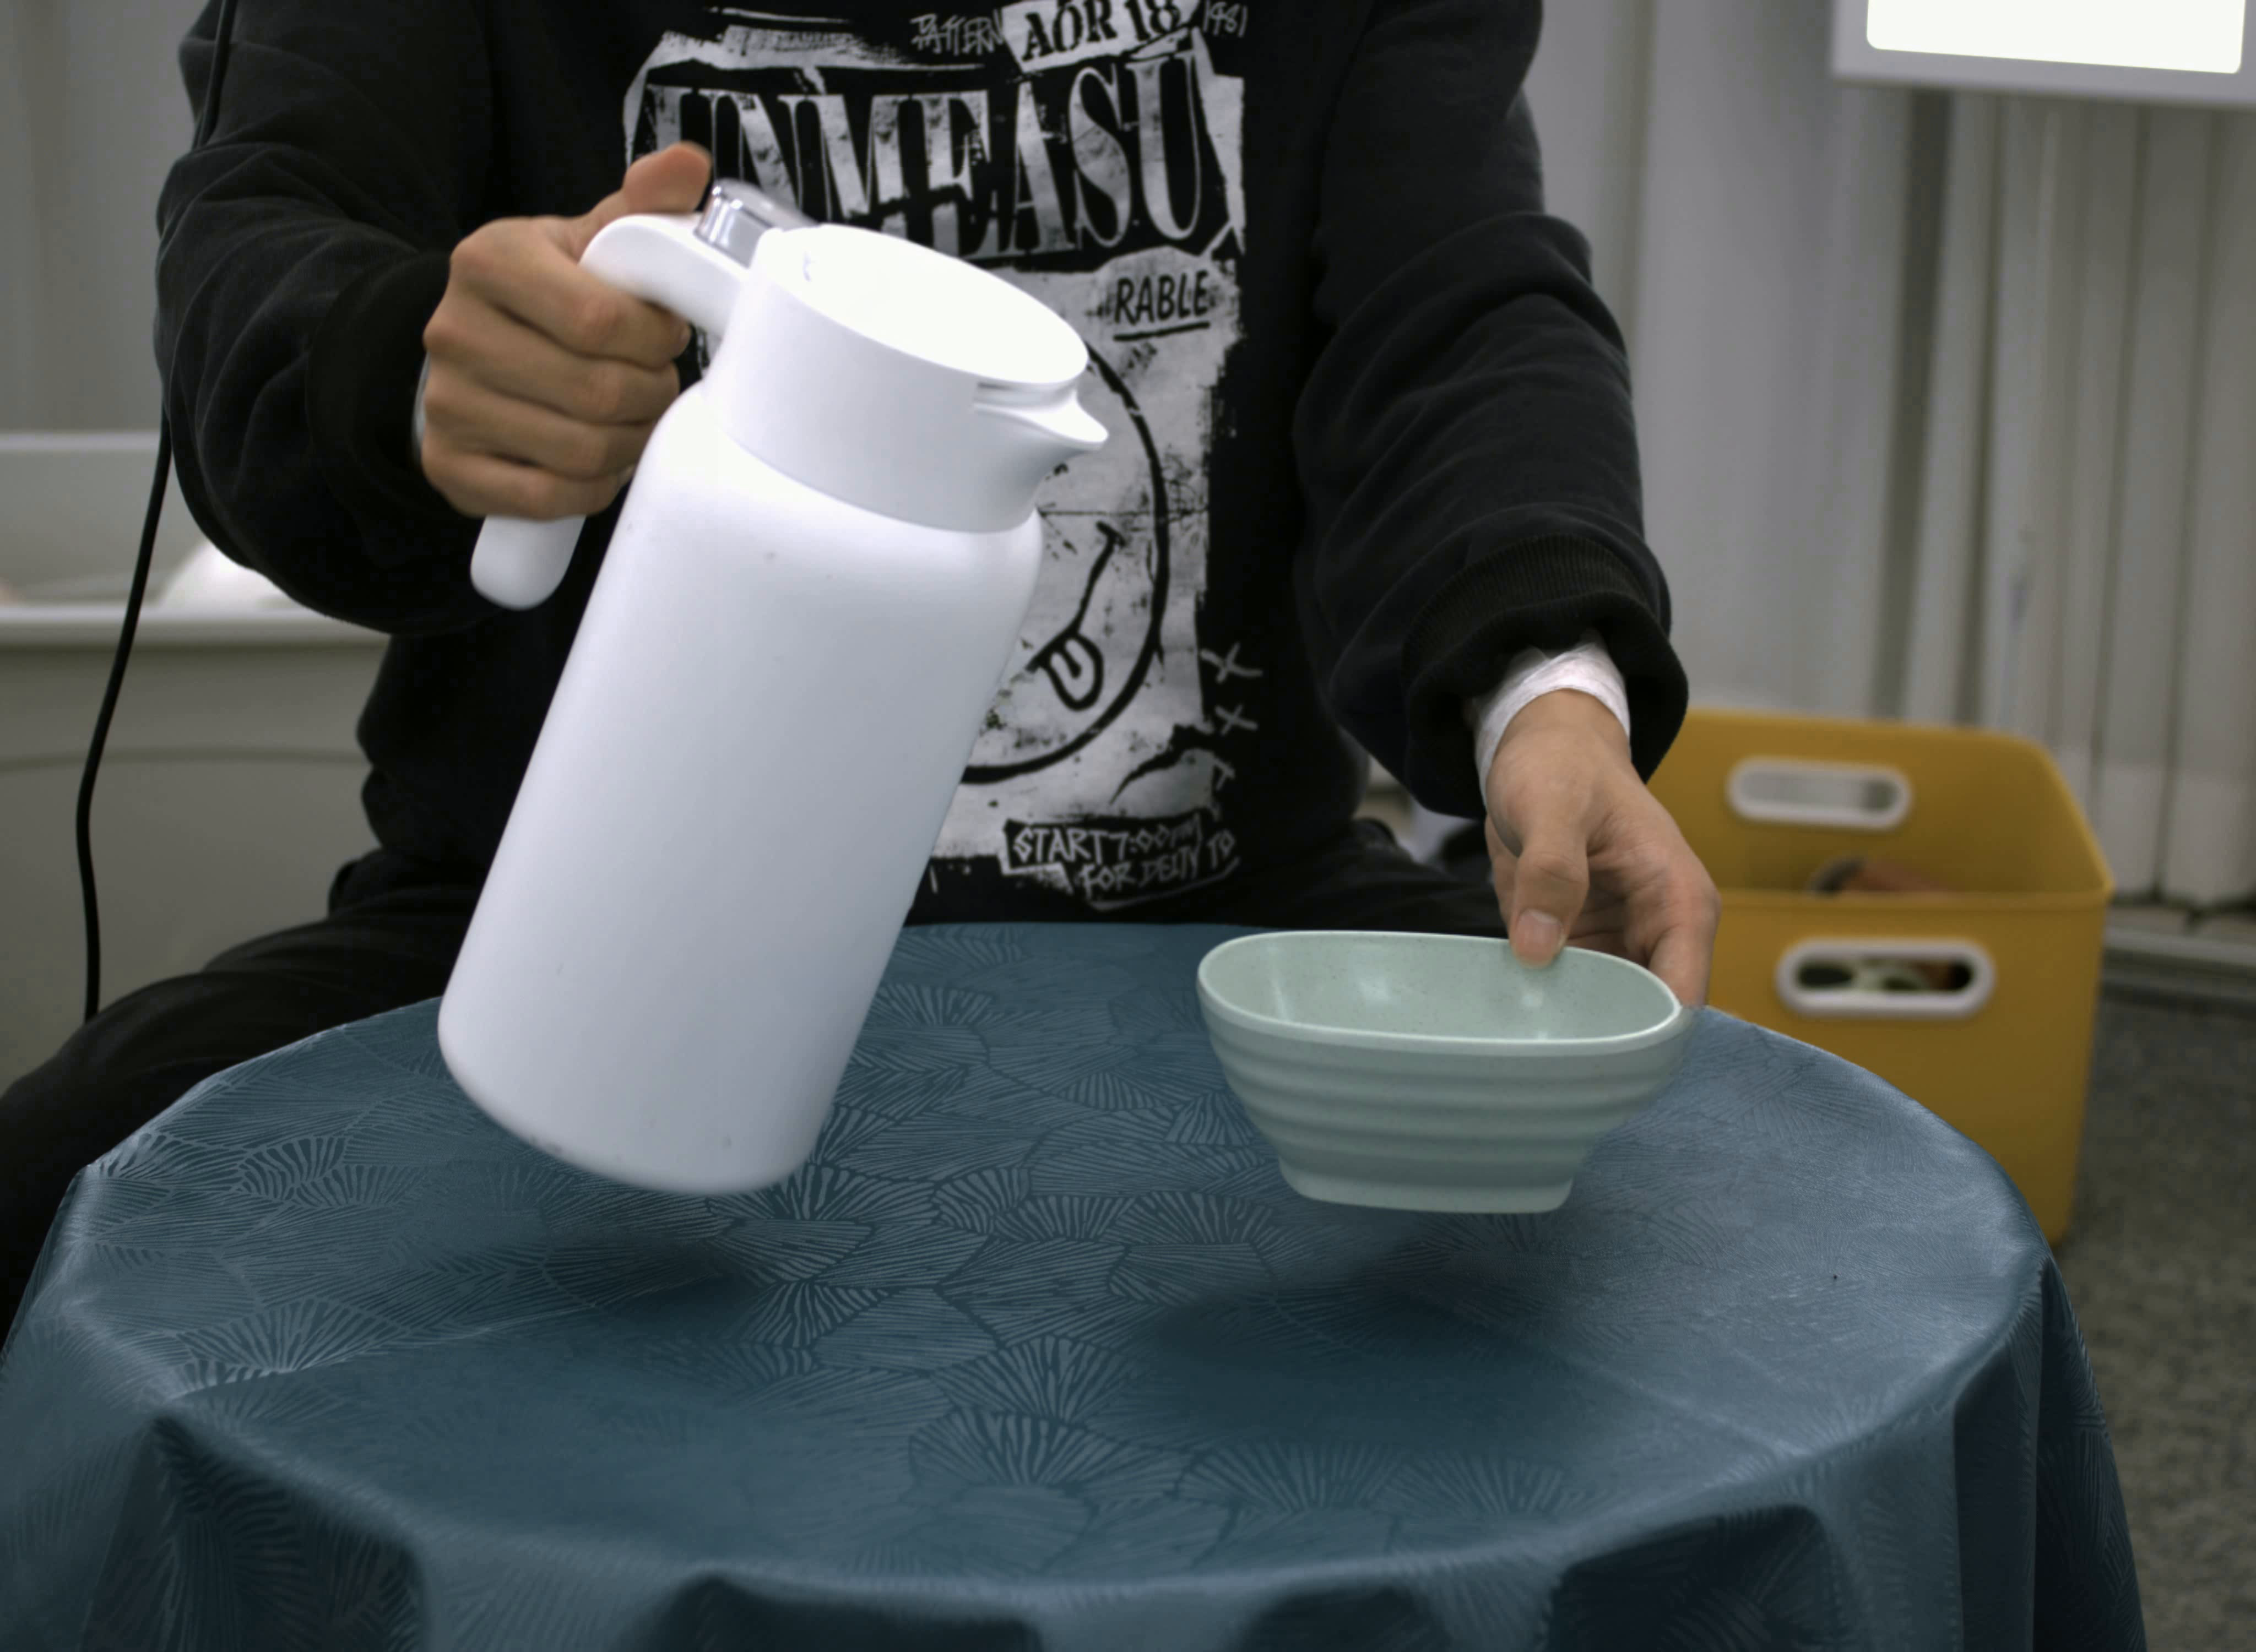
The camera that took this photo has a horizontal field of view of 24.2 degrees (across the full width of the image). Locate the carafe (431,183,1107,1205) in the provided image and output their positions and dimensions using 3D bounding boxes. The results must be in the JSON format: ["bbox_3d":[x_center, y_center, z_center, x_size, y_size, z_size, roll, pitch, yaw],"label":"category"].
[{"bbox_3d":[-0.118,-0.040,1.495,0.171,0.270,0.124,31,25,23],"label":"carafe"}]

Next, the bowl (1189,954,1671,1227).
[{"bbox_3d":[0.086,0.078,1.521,0.151,0.059,0.151,2,9,0],"label":"bowl"}]
